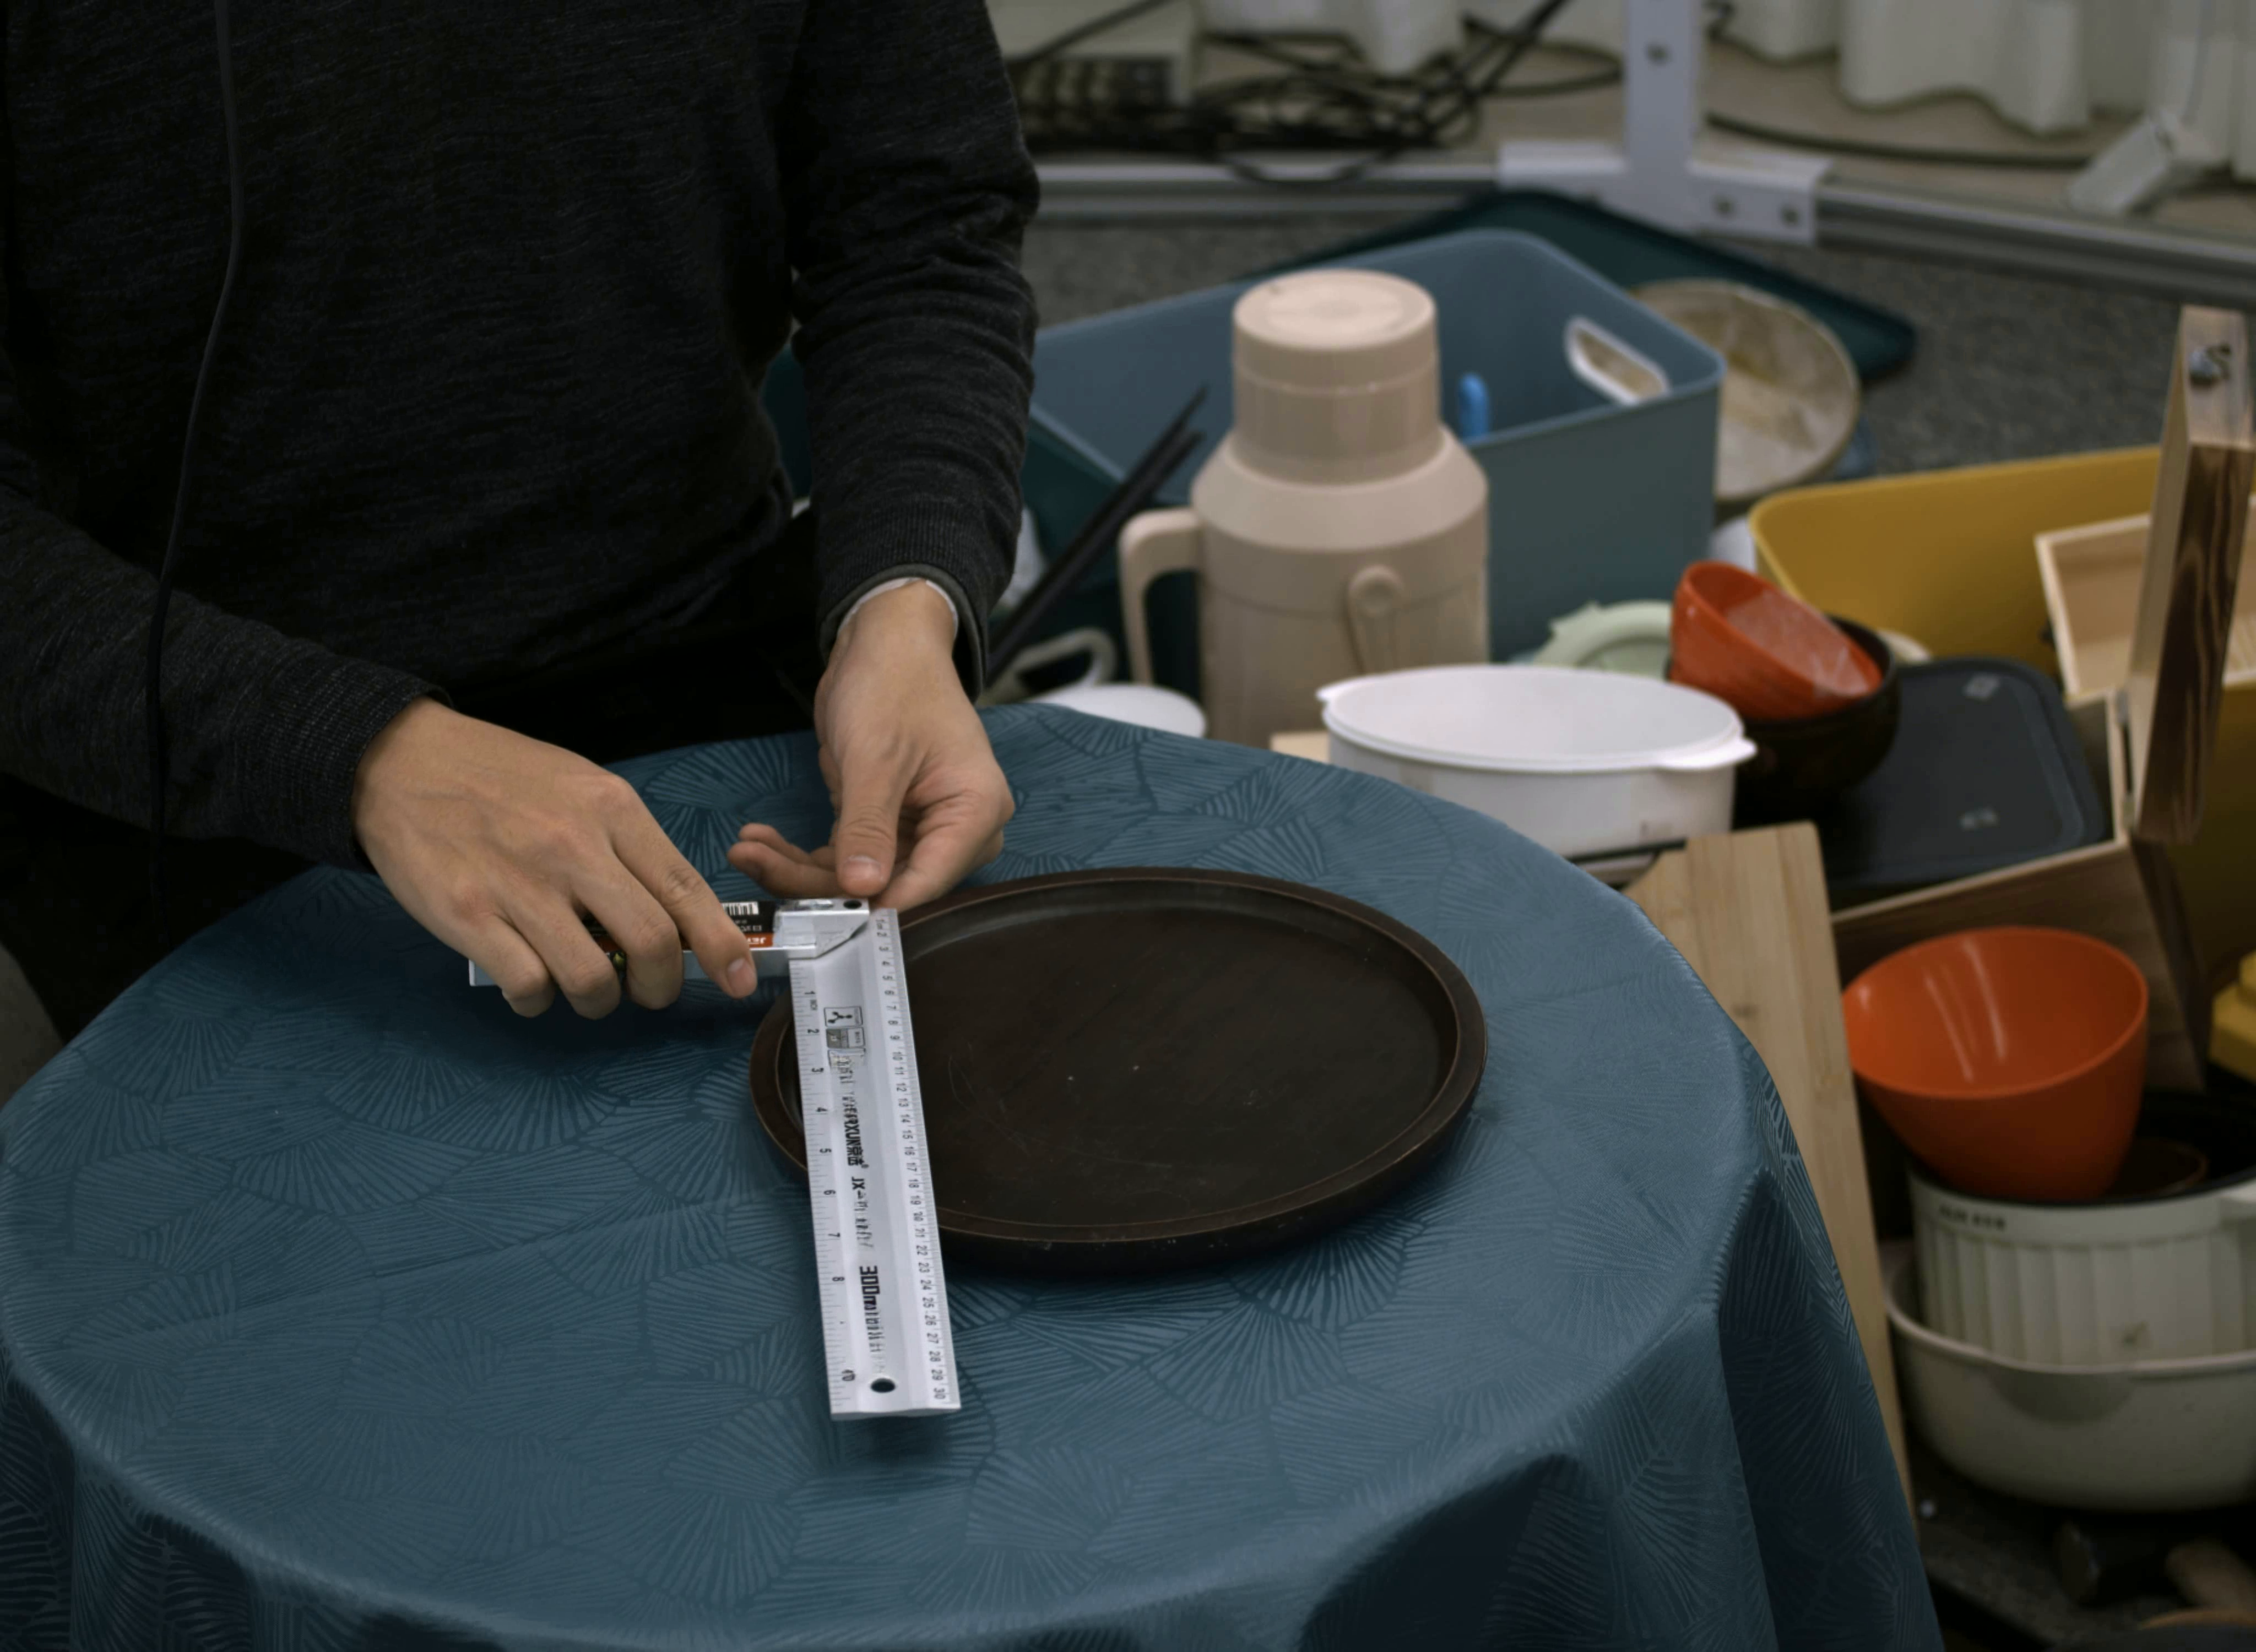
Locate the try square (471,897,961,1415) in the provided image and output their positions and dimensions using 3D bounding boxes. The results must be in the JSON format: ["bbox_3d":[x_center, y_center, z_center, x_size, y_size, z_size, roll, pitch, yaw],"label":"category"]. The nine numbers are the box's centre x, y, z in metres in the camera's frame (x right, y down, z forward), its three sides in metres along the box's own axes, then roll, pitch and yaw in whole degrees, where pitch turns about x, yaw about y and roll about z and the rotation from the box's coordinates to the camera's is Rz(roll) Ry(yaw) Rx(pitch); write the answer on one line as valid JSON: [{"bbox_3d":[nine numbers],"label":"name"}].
[{"bbox_3d":[-0.141,0.106,1.846,0.152,0.016,0.317,-2,28,-5],"label":"try square"}]

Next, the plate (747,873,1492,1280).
[{"bbox_3d":[-0.003,0.083,1.911,0.253,0.029,0.259,-2,29,2],"label":"plate"}]
